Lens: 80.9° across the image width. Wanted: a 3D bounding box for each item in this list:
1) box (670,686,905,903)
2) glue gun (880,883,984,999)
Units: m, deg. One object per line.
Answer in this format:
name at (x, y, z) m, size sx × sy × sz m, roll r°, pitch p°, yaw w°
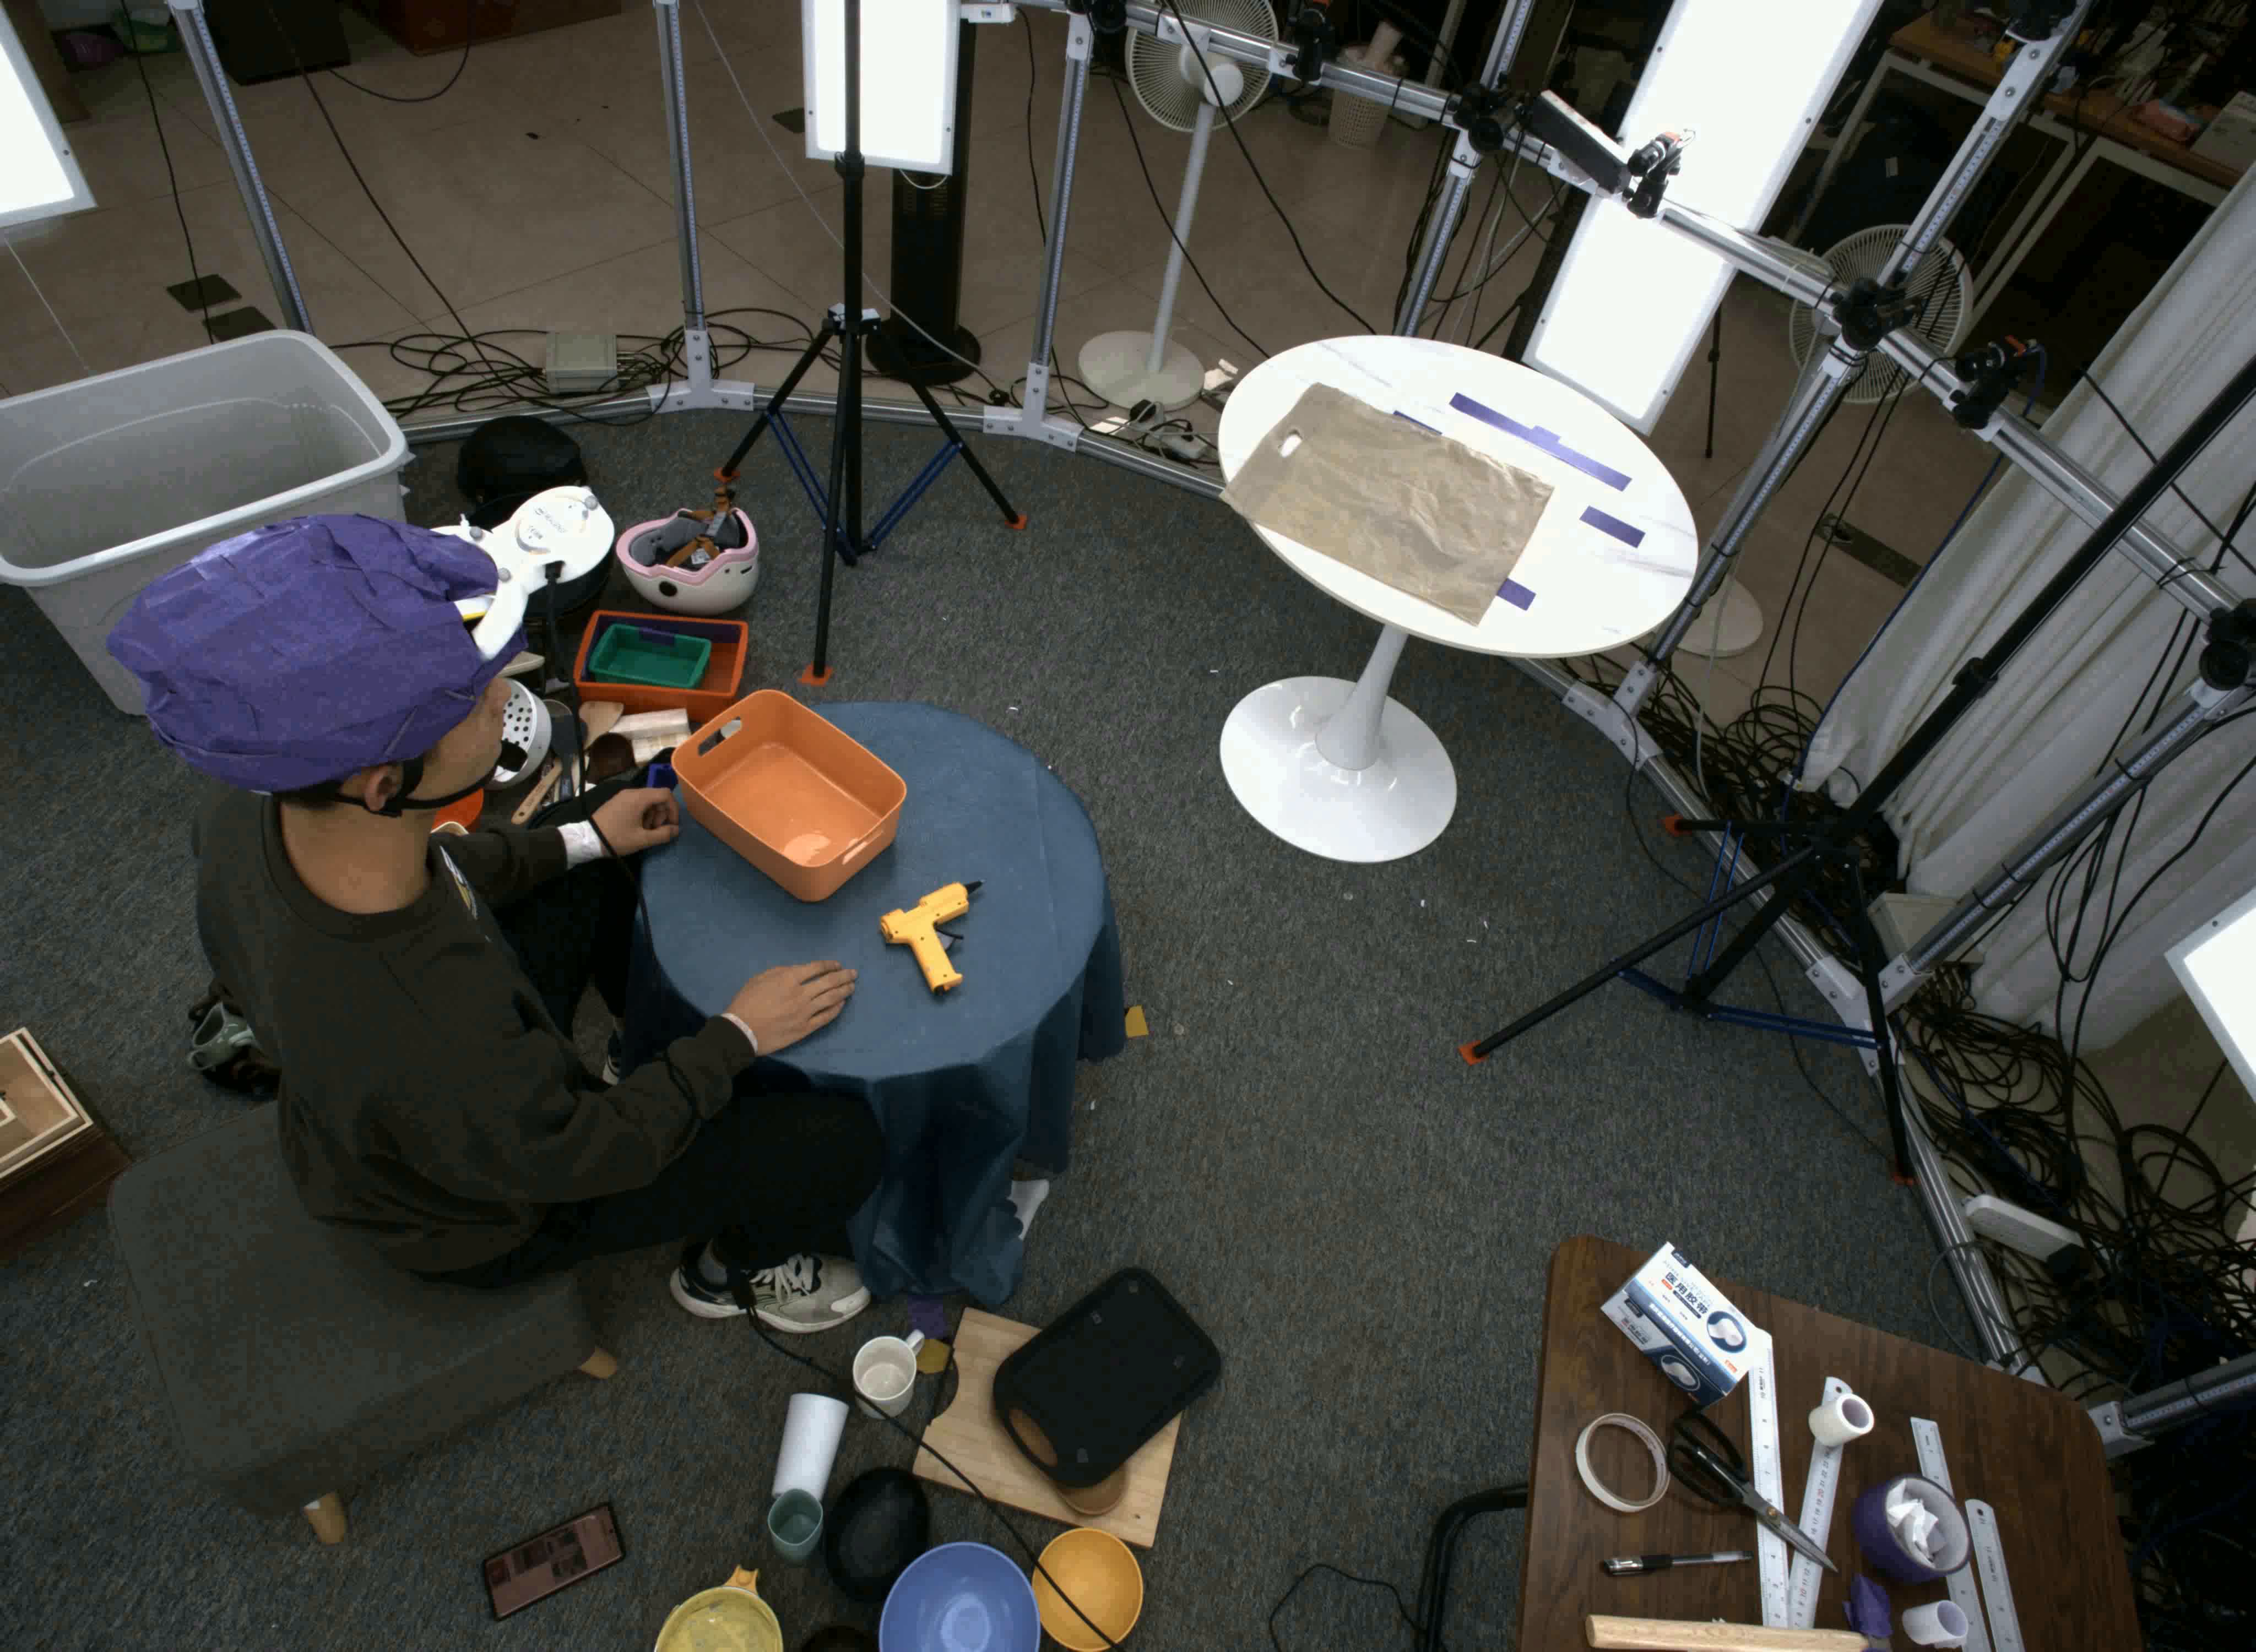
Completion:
box at (-0.439, -0.037, 1.677) m, size 0.268 × 0.104 × 0.199 m, roll 34°, pitch 54°, yaw 12°
glue gun at (-0.219, 0.133, 1.656) m, size 0.152 × 0.031 × 0.130 m, roll -32°, pitch 68°, yaw -32°
